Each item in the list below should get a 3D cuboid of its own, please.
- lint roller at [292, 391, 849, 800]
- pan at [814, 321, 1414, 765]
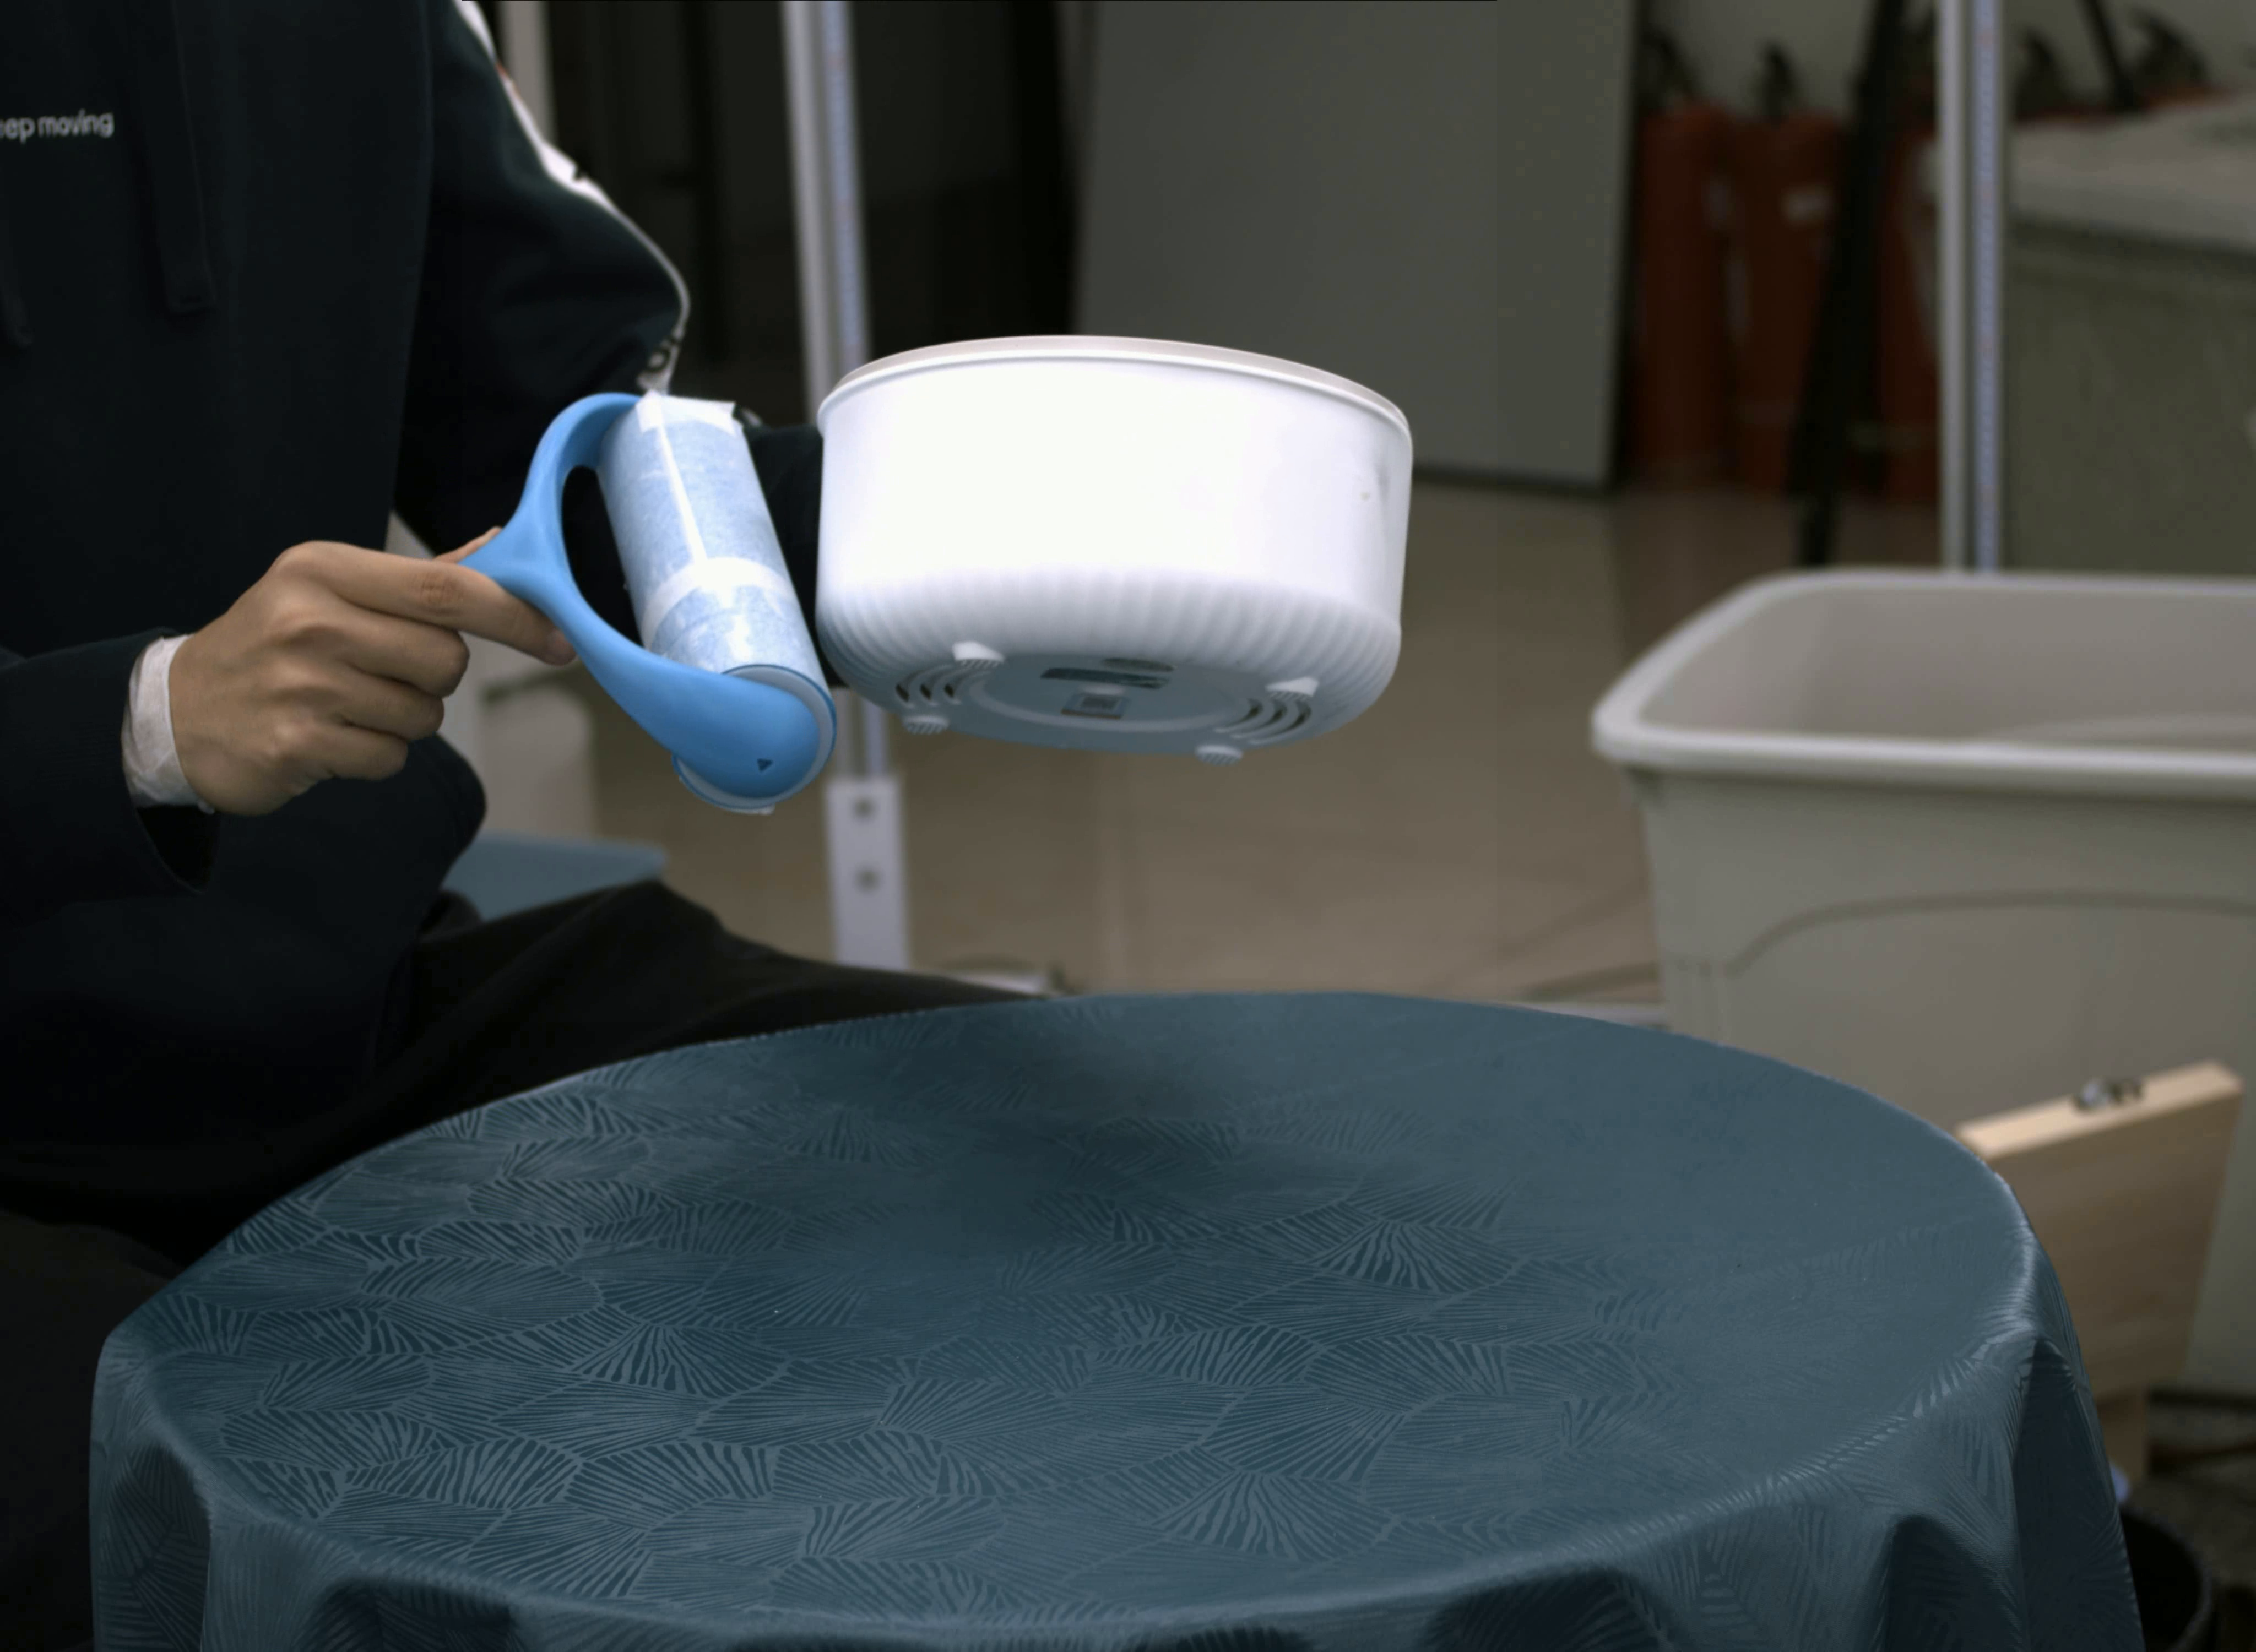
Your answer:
[{"bbox_3d":[-0.190,-0.064,1.771,0.177,0.068,0.231,-14,32,-8],"label":"lint roller"},{"bbox_3d":[-0.021,-0.070,1.851,0.197,0.103,0.356,5,-14,-10],"label":"pan"}]
